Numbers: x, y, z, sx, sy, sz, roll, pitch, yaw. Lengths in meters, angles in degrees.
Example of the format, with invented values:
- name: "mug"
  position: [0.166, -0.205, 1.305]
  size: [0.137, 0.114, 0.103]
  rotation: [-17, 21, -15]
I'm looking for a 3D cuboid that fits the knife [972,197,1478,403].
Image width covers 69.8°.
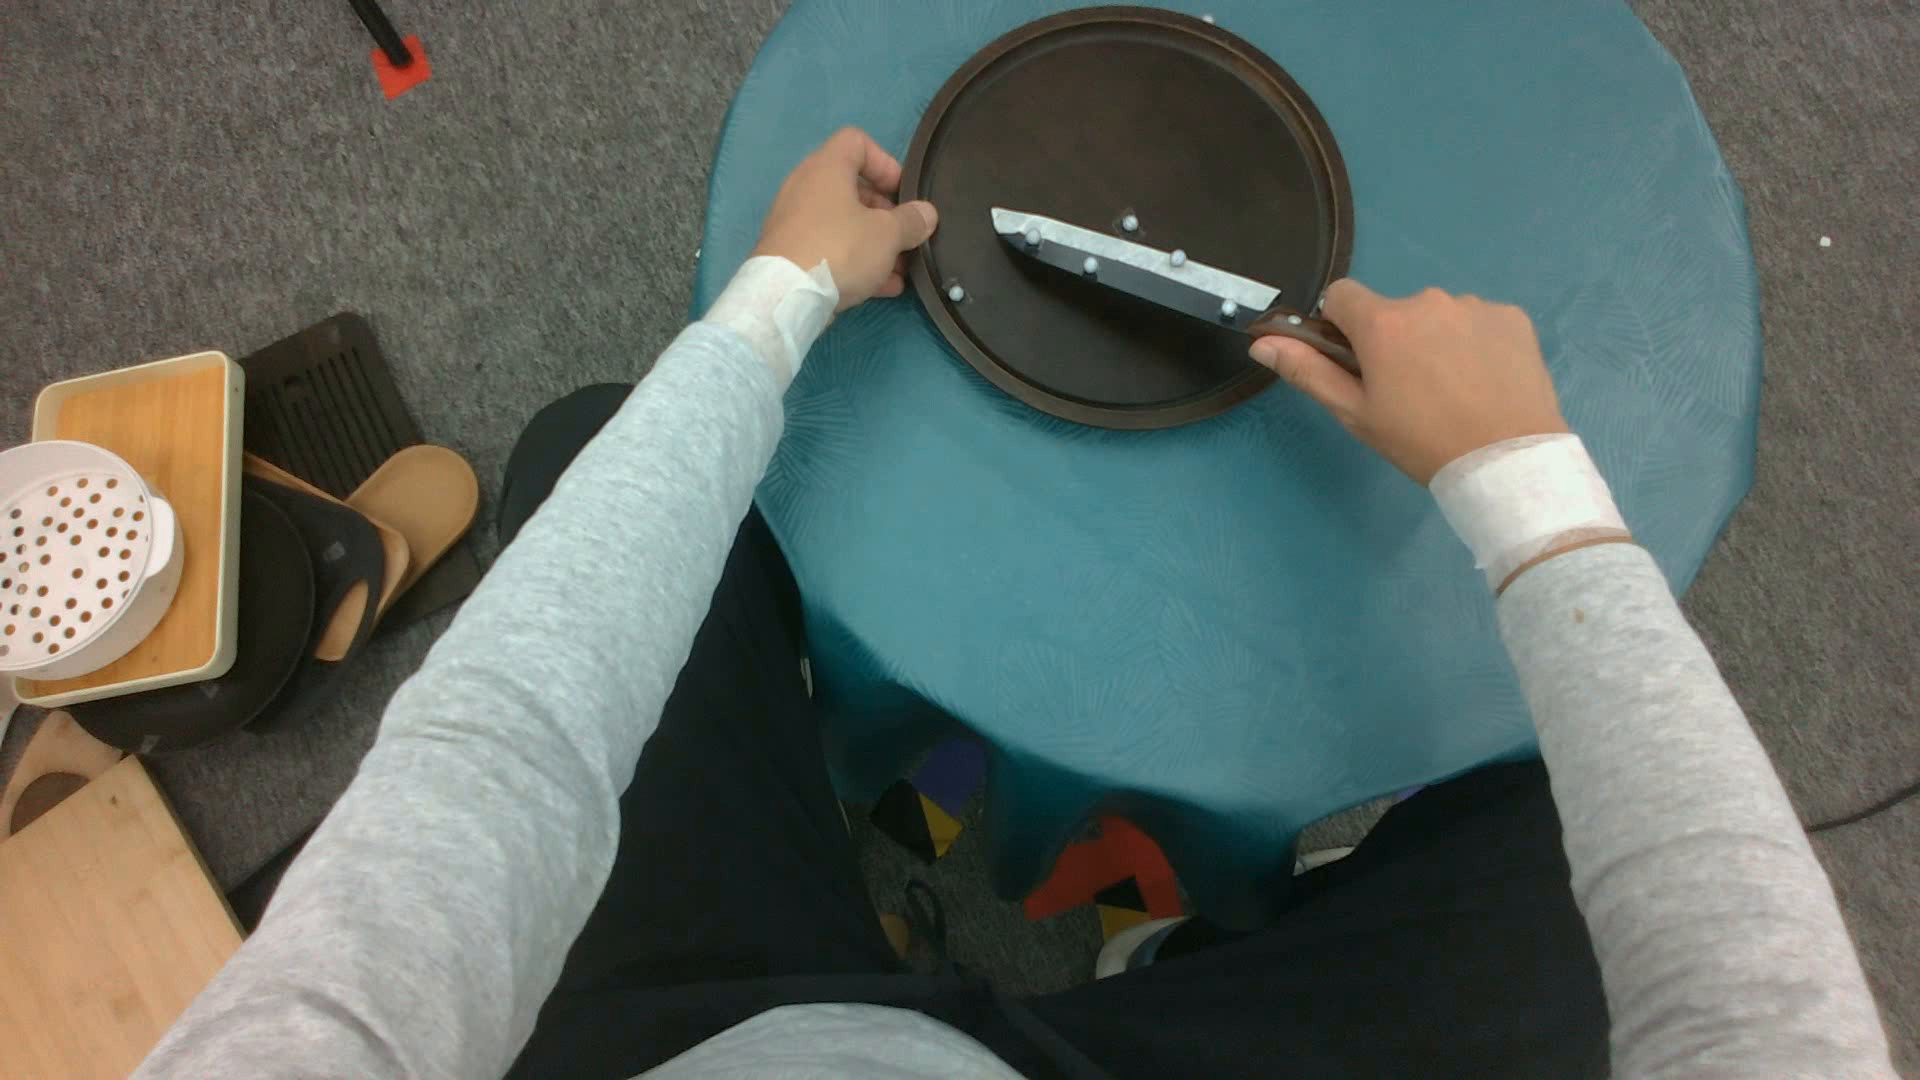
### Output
- name: "knife"
  position: [0.129, -0.131, 0.716]
  size: [0.289, 0.020, 0.050]
  rotation: [25, 47, 20]

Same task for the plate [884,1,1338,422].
- name: "plate"
  position: [0.084, -0.186, 0.770]
  size: [0.255, 0.029, 0.255]
  rotation: [1, 77, -4]
